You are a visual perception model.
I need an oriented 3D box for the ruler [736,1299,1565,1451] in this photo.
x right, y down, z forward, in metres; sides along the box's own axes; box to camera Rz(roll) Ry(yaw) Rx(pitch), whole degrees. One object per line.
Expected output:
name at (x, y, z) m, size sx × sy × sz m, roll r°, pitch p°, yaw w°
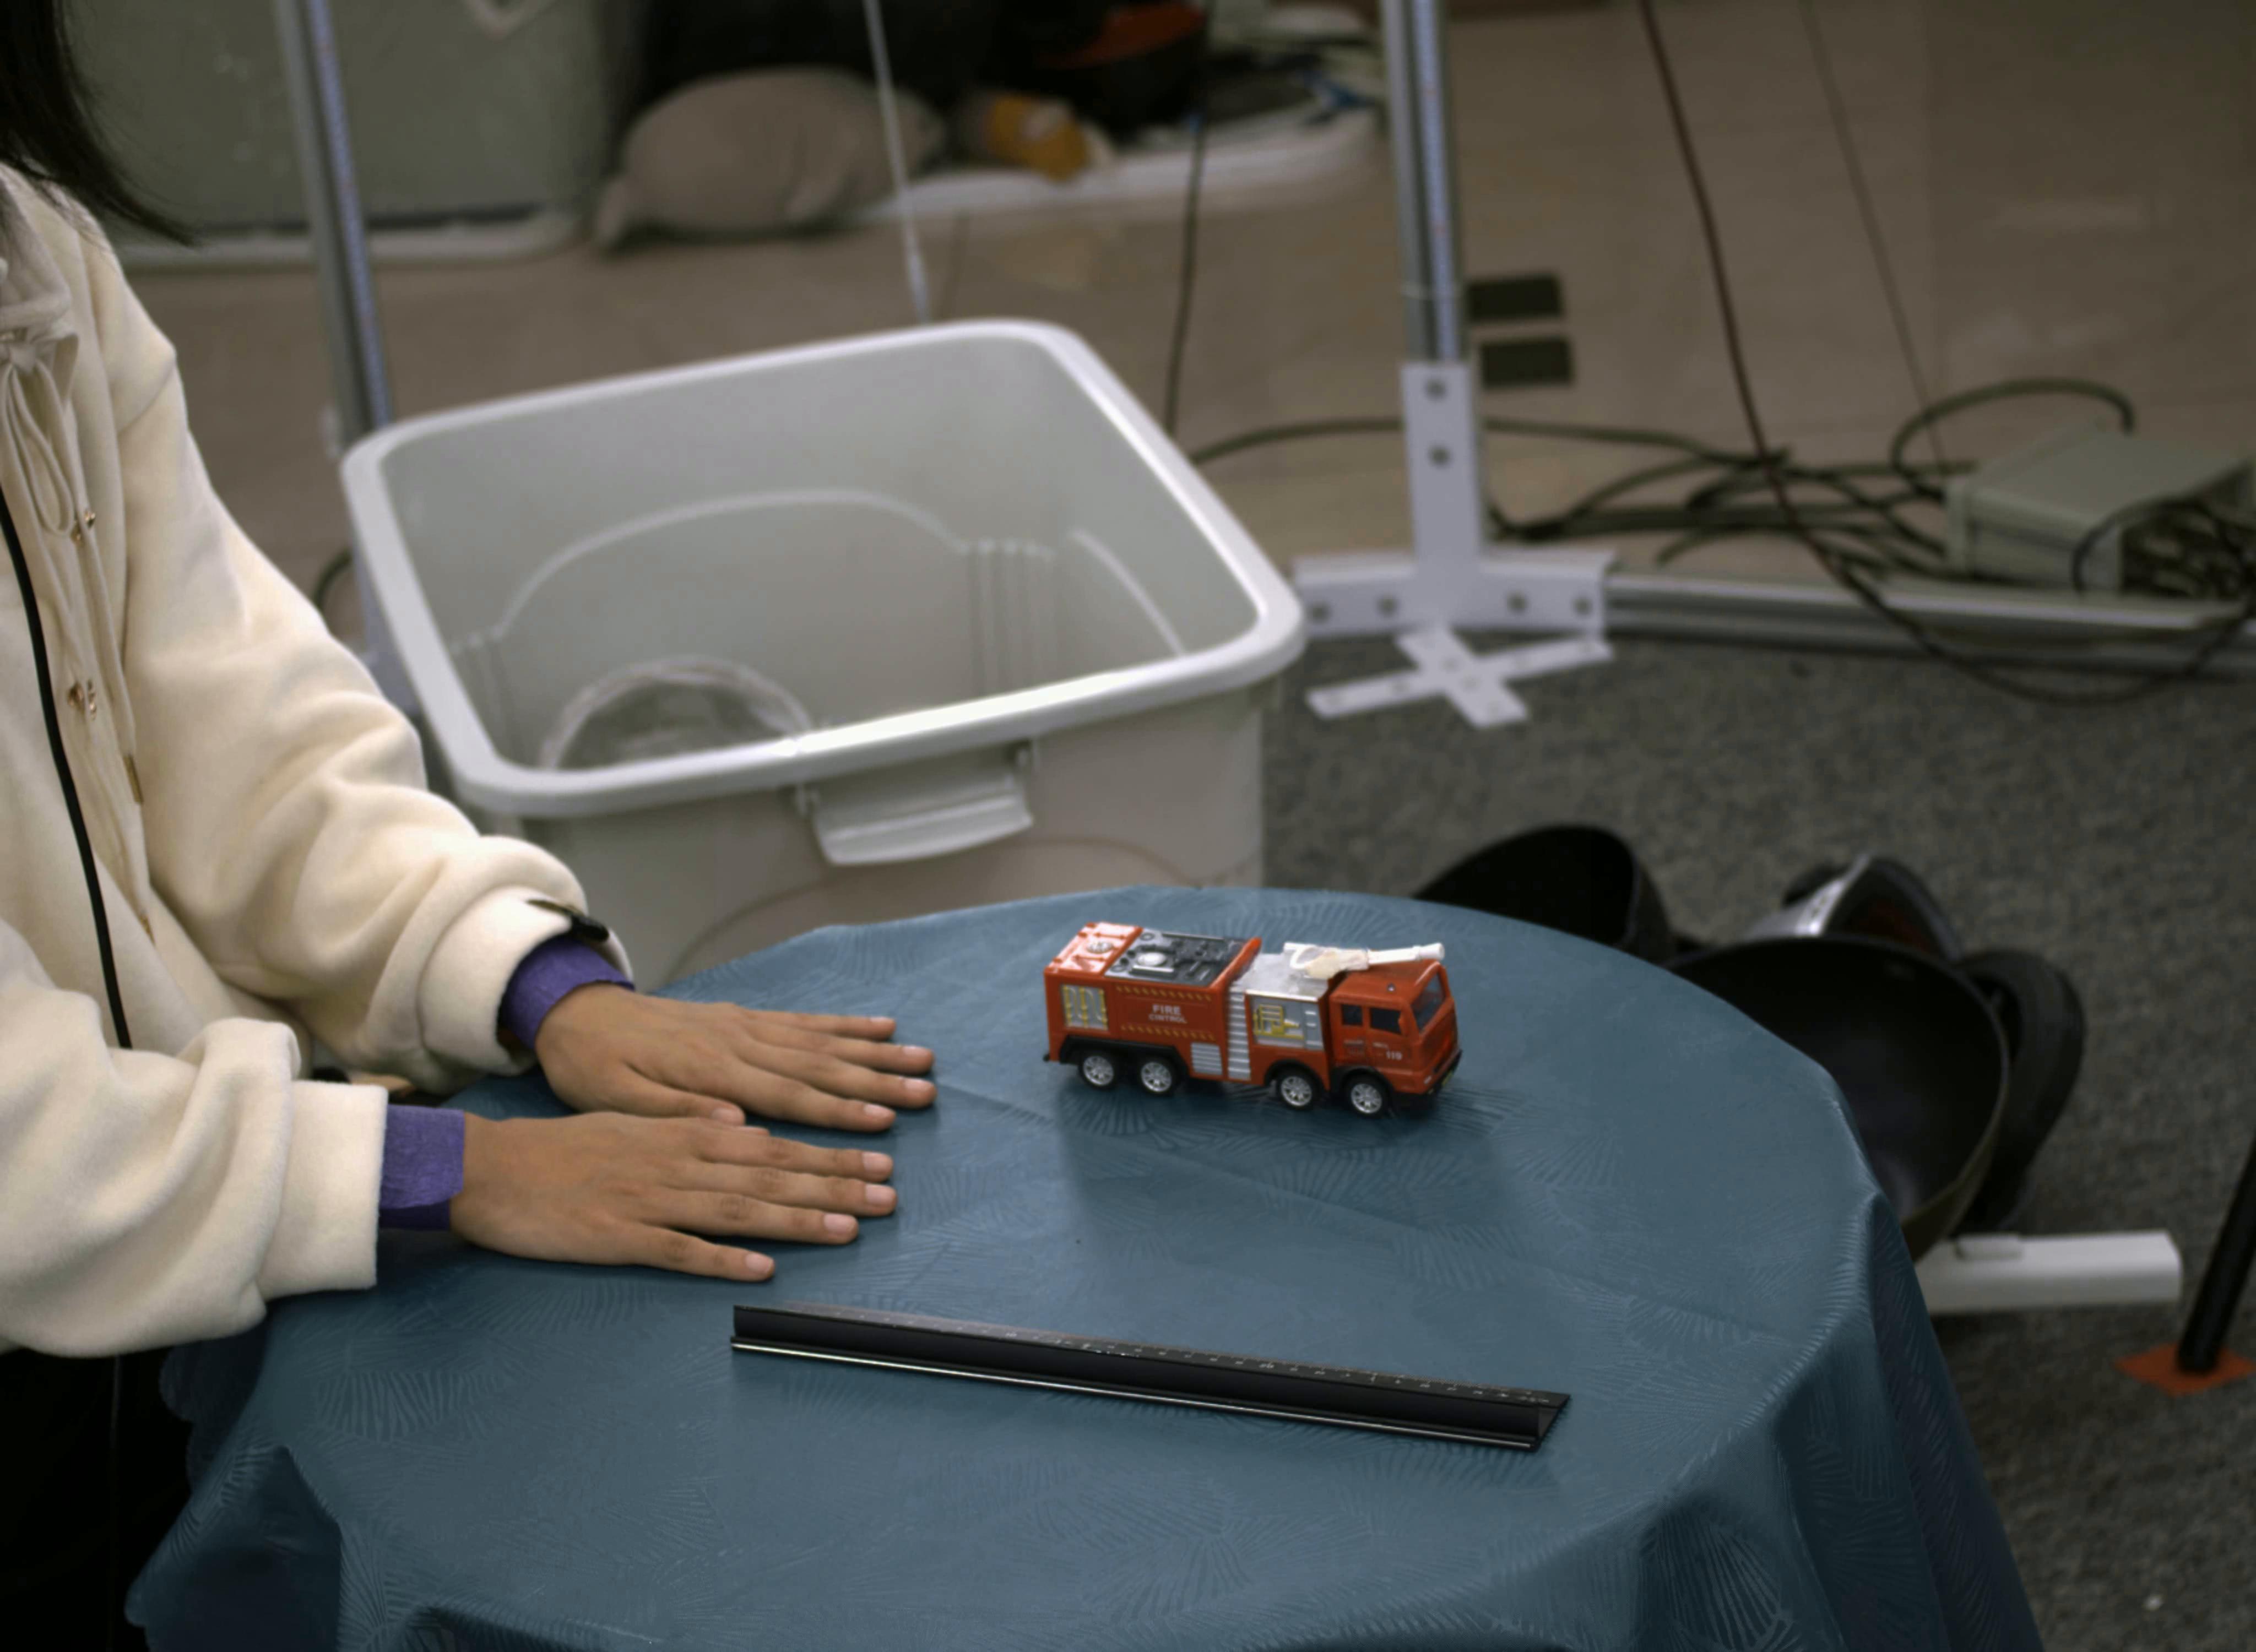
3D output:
ruler at (0.004, 0.188, 2.022) m, size 0.311 × 0.017 × 0.039 m, roll 5°, pitch 24°, yaw 24°

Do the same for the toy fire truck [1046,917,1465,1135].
toy fire truck at (0.049, 0.074, 2.206) m, size 0.167 × 0.071 × 0.053 m, roll 4°, pitch 28°, yaw 24°
